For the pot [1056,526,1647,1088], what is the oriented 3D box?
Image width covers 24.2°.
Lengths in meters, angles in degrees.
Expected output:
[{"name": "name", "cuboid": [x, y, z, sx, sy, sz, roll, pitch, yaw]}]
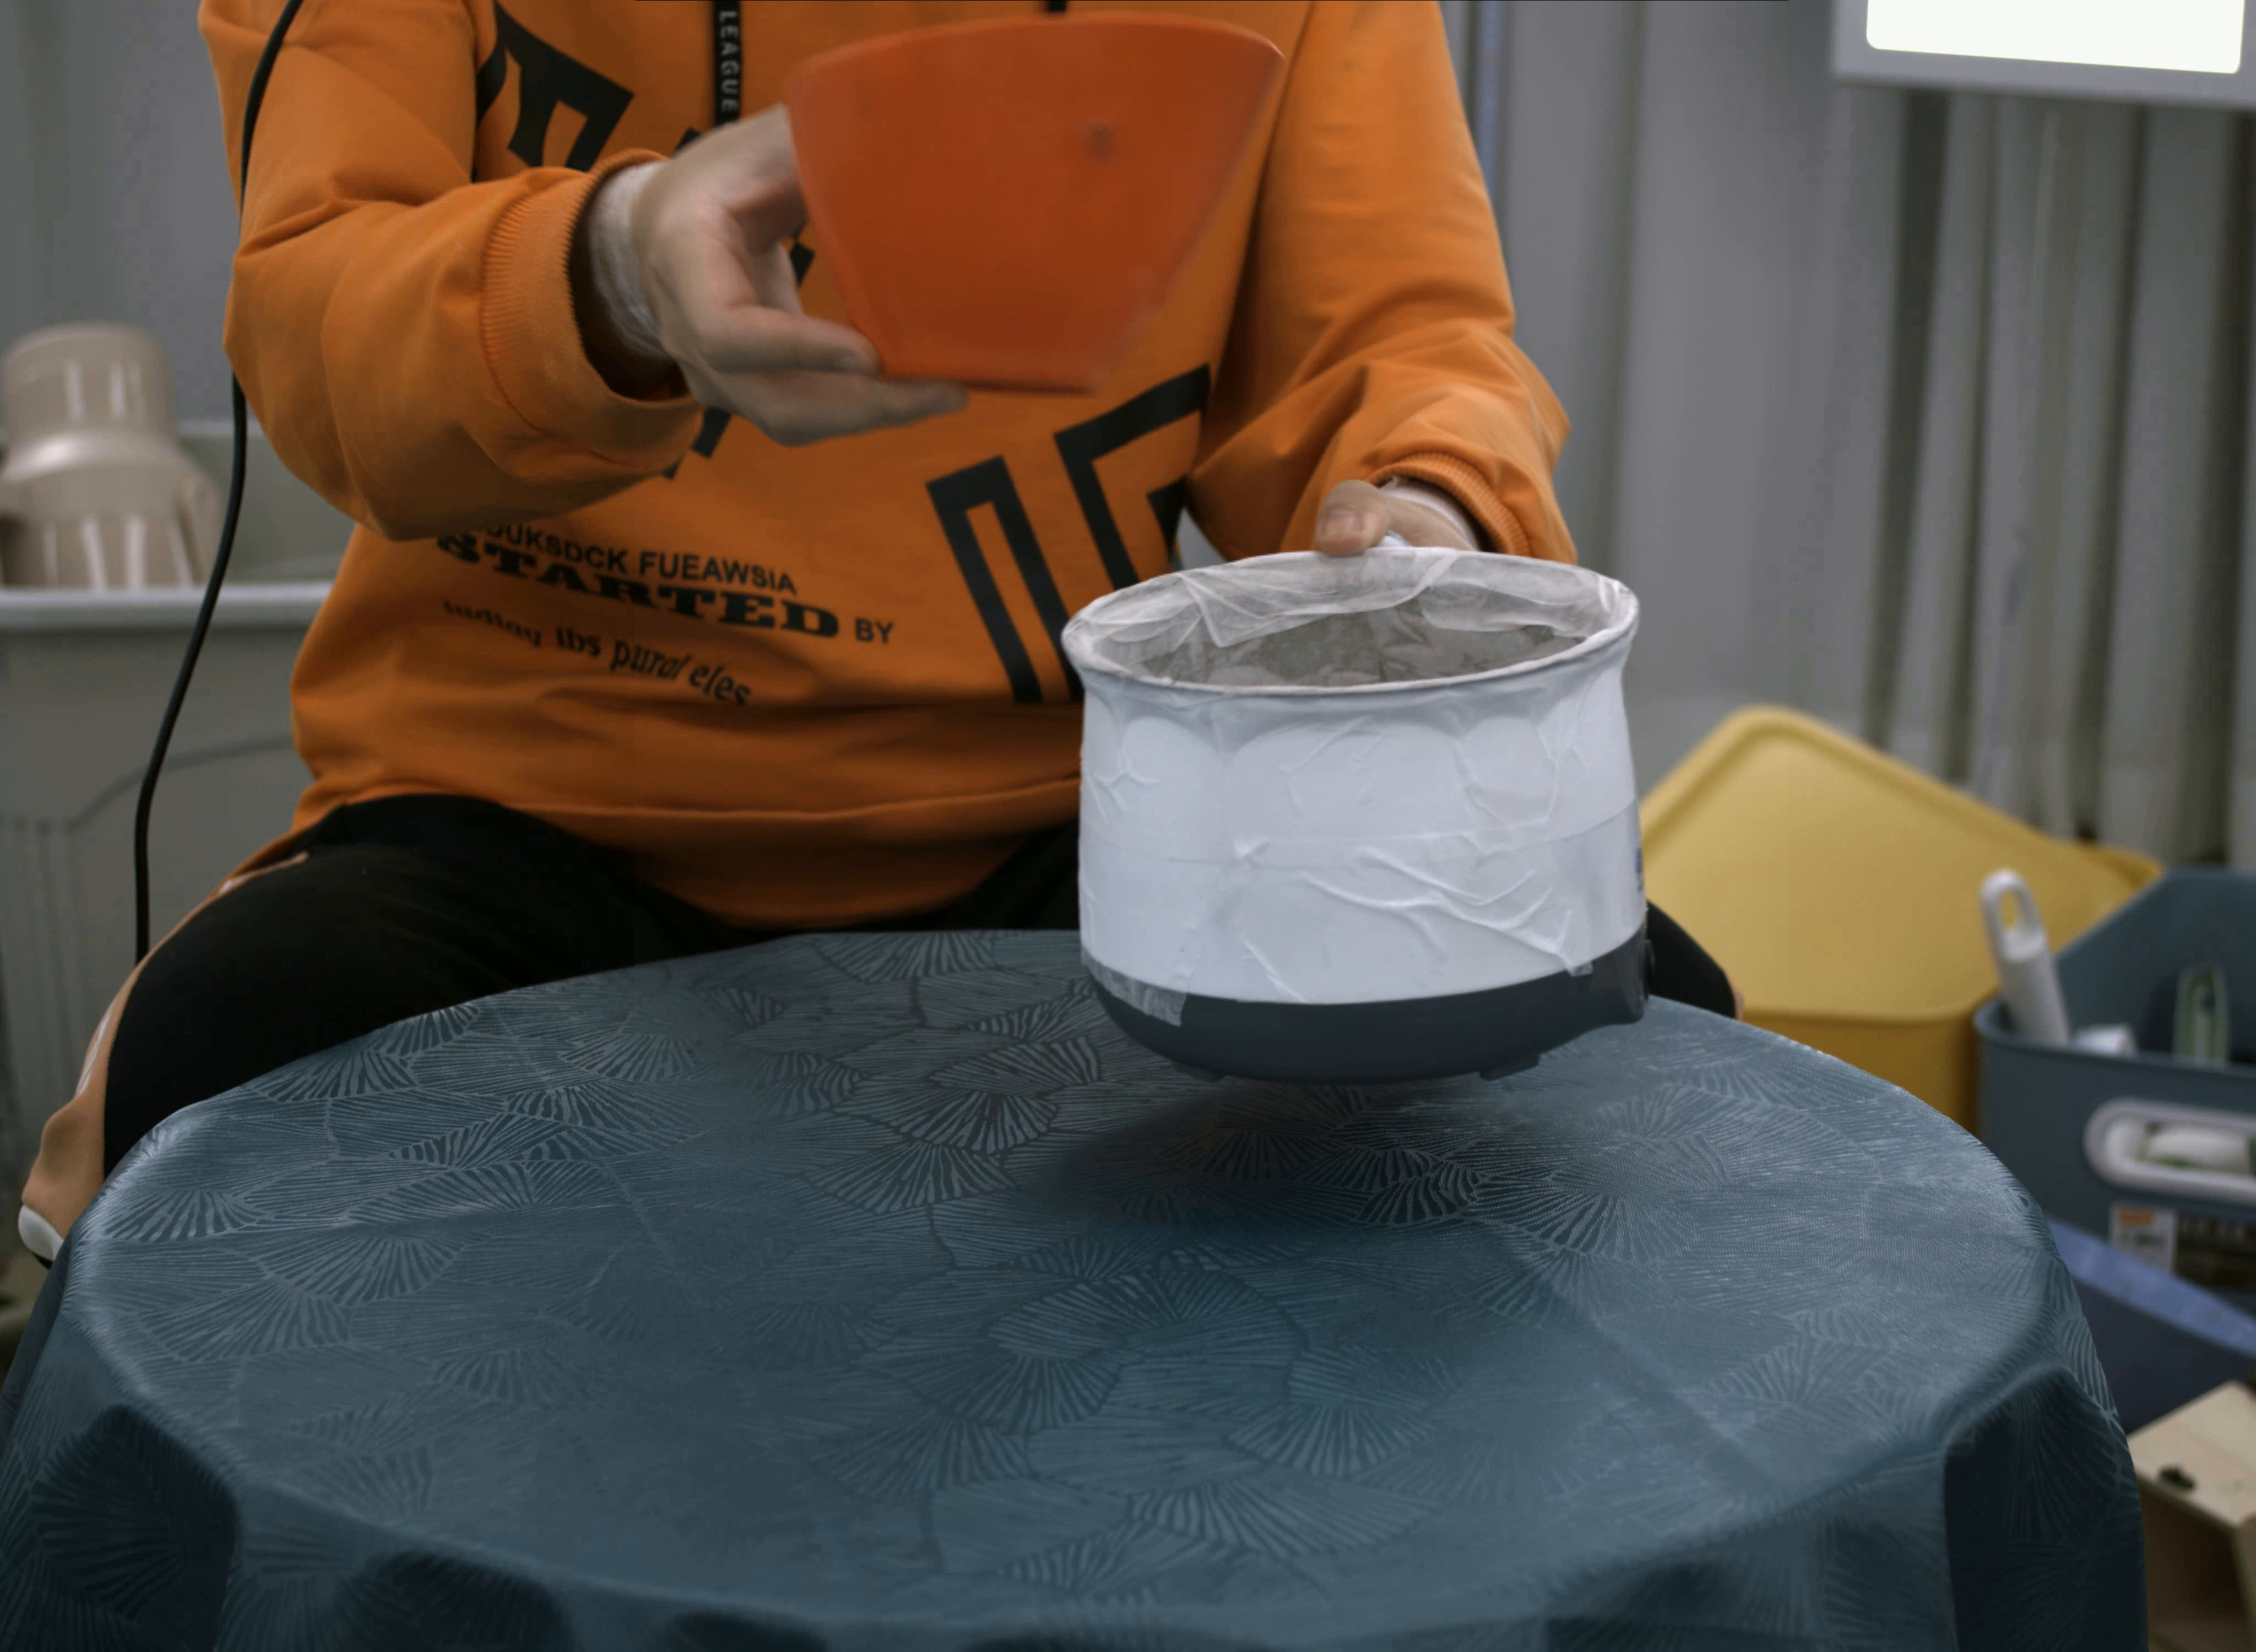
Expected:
[{"name": "pot", "cuboid": [0.072, -0.011, 1.650, 0.178, 0.138, 0.233, -1, 17, 7]}]

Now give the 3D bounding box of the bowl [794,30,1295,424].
[{"name": "bowl", "cuboid": [-0.028, -0.174, 1.551, 0.147, 0.105, 0.148, 4, 0, 1]}]
